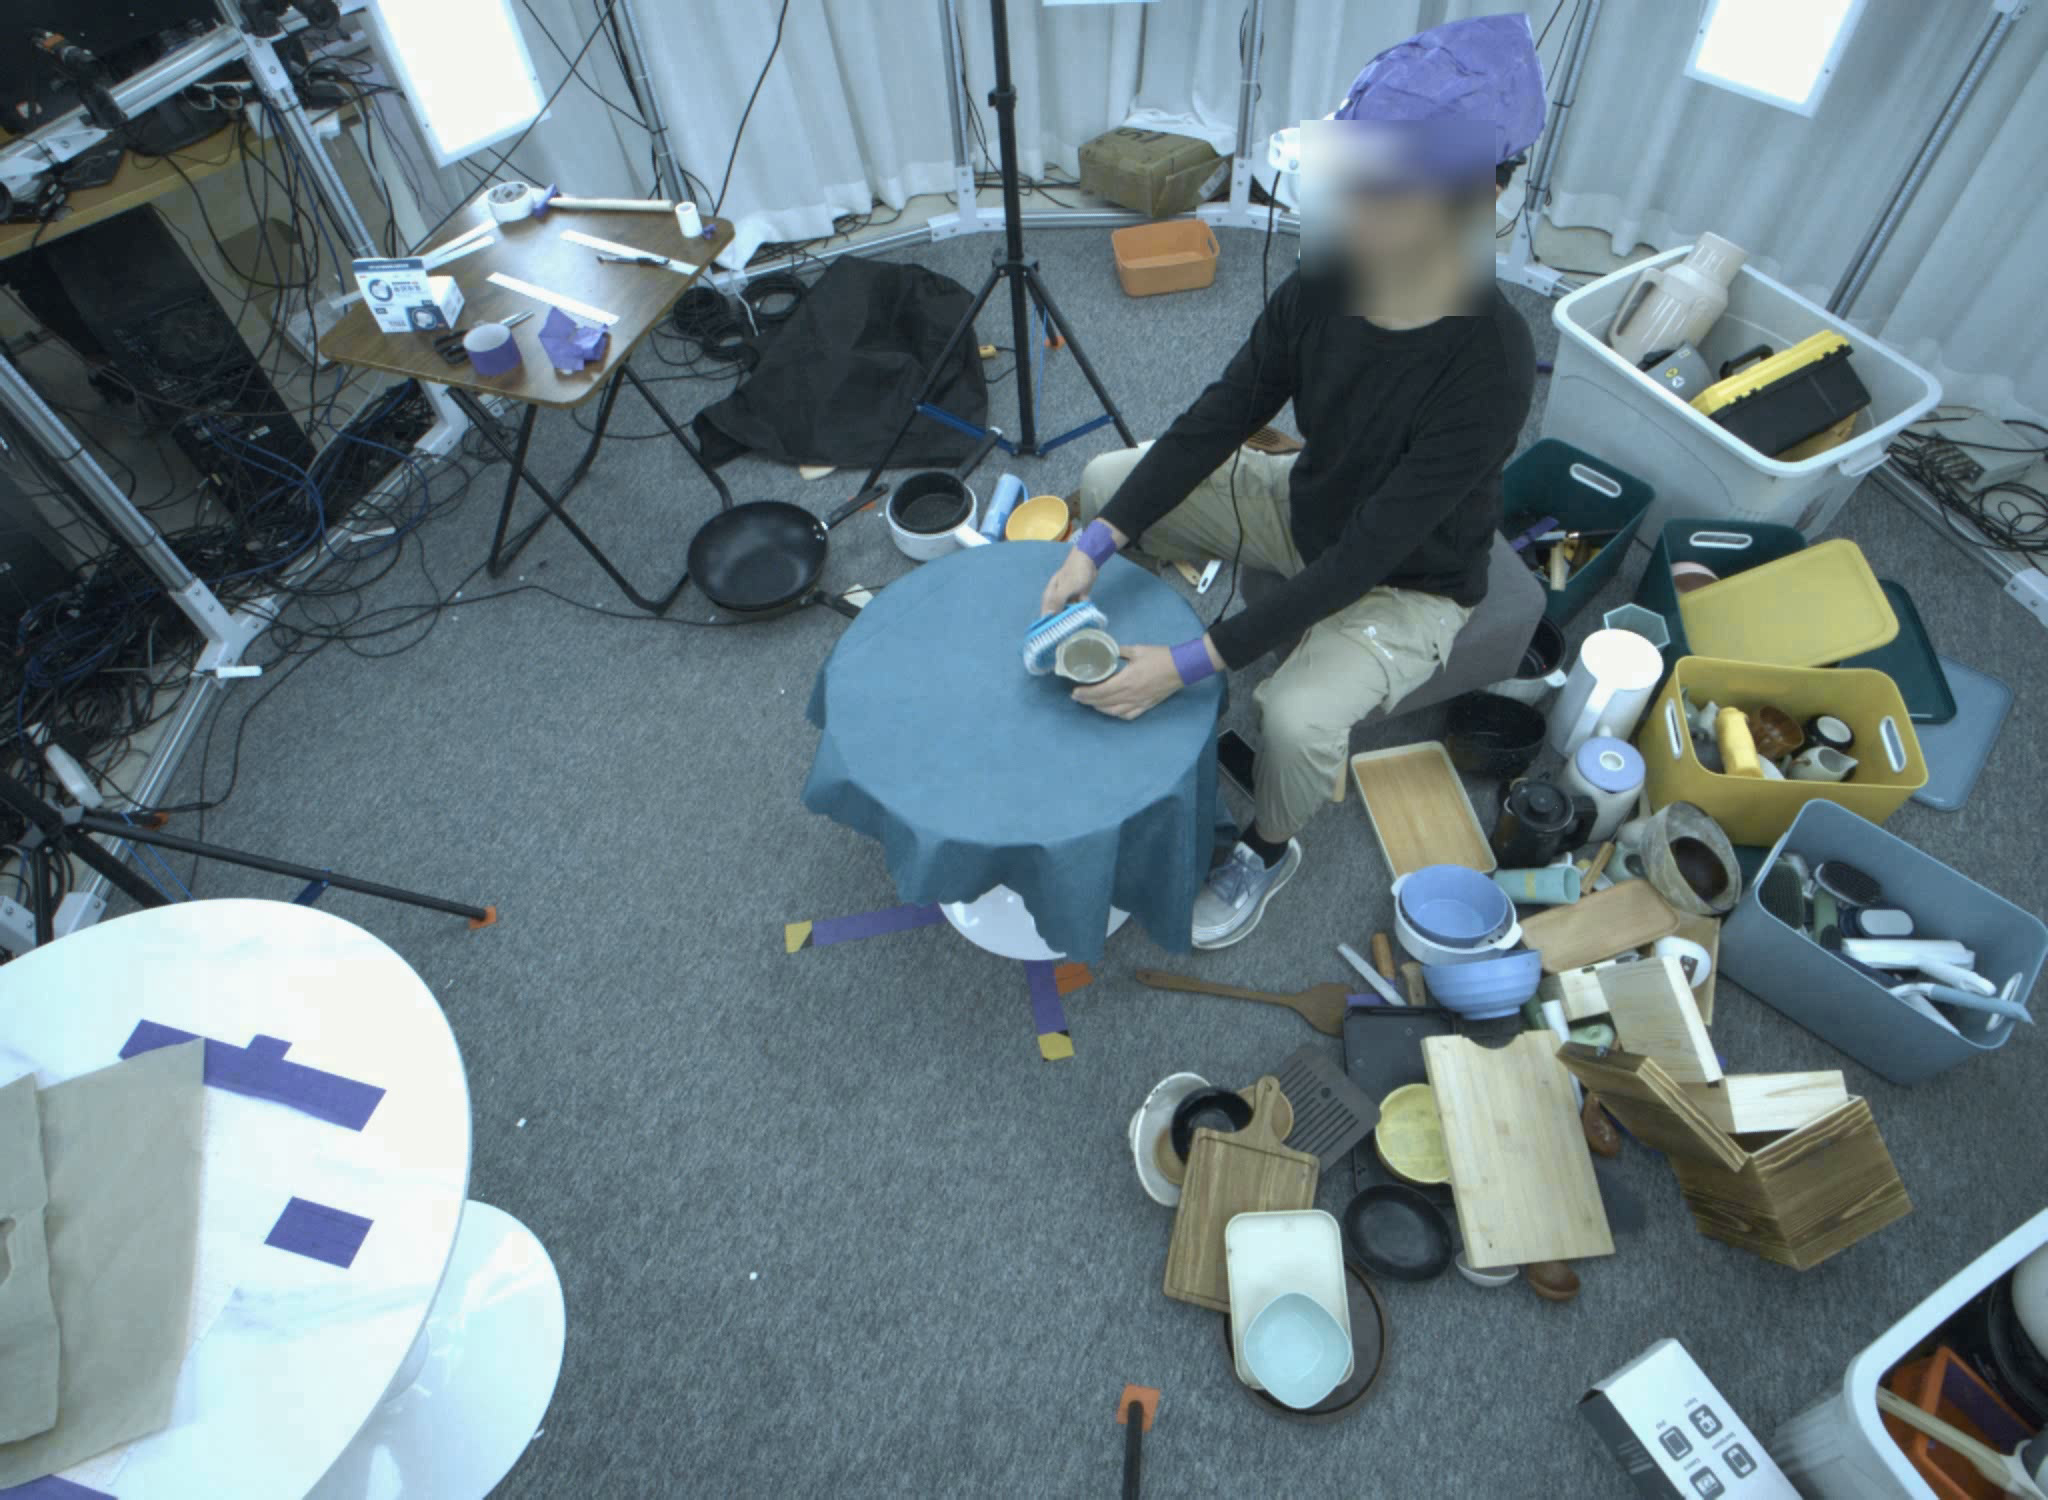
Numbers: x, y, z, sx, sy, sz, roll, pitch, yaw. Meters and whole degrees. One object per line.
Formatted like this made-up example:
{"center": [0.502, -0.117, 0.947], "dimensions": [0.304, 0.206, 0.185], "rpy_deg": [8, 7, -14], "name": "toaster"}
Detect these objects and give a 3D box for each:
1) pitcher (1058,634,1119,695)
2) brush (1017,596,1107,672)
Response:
{"center": [0.094, -0.120, 1.822], "dimensions": [0.096, 0.072, 0.082], "rpy_deg": [-24, 65, -11], "name": "pitcher"}
{"center": [0.050, -0.181, 1.836], "dimensions": [0.142, 0.086, 0.062], "rpy_deg": [-33, 60, -1], "name": "brush"}
